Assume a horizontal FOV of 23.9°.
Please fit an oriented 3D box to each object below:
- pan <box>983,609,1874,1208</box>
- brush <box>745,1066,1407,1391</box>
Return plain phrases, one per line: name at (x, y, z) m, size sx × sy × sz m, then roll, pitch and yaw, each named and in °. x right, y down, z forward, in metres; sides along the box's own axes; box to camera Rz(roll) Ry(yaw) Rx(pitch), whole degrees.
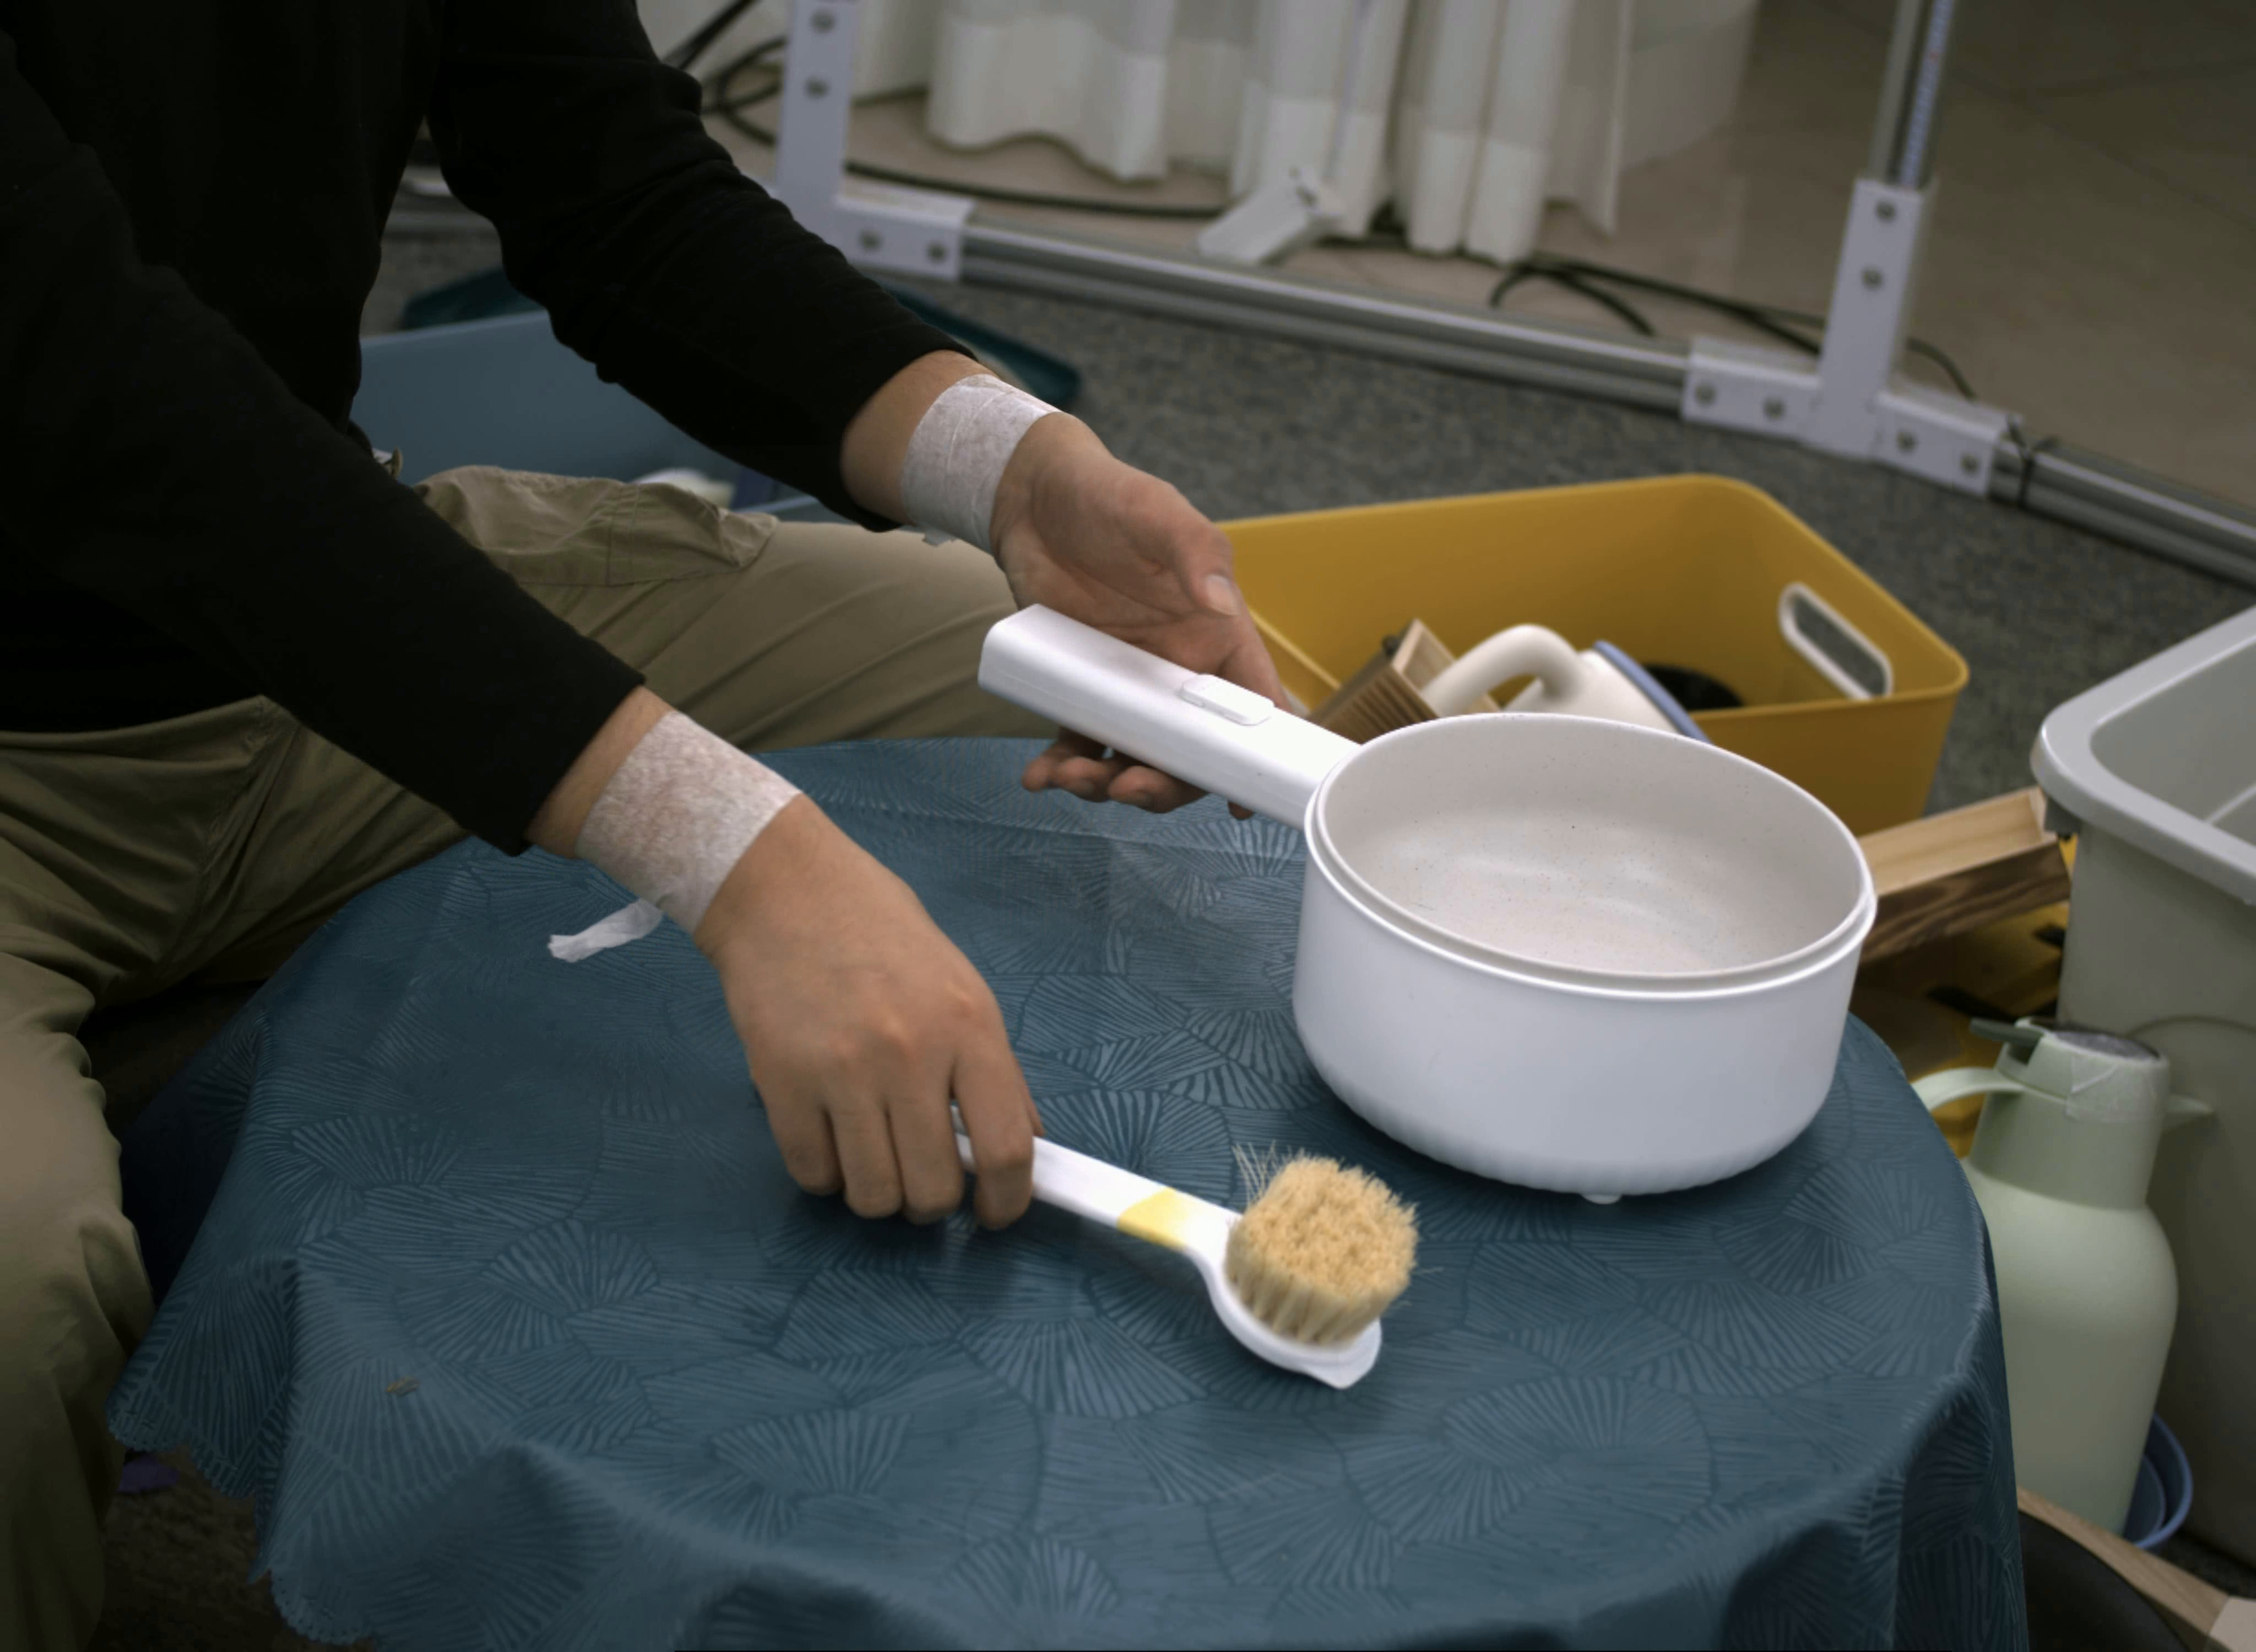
pan at (0.094, 0.024, 1.912) m, size 0.357 × 0.102 × 0.200 m, roll 23°, pitch 32°, yaw 30°
brush at (-0.023, 0.111, 1.763) m, size 0.268 × 0.056 × 0.068 m, roll 24°, pitch 26°, yaw 33°
